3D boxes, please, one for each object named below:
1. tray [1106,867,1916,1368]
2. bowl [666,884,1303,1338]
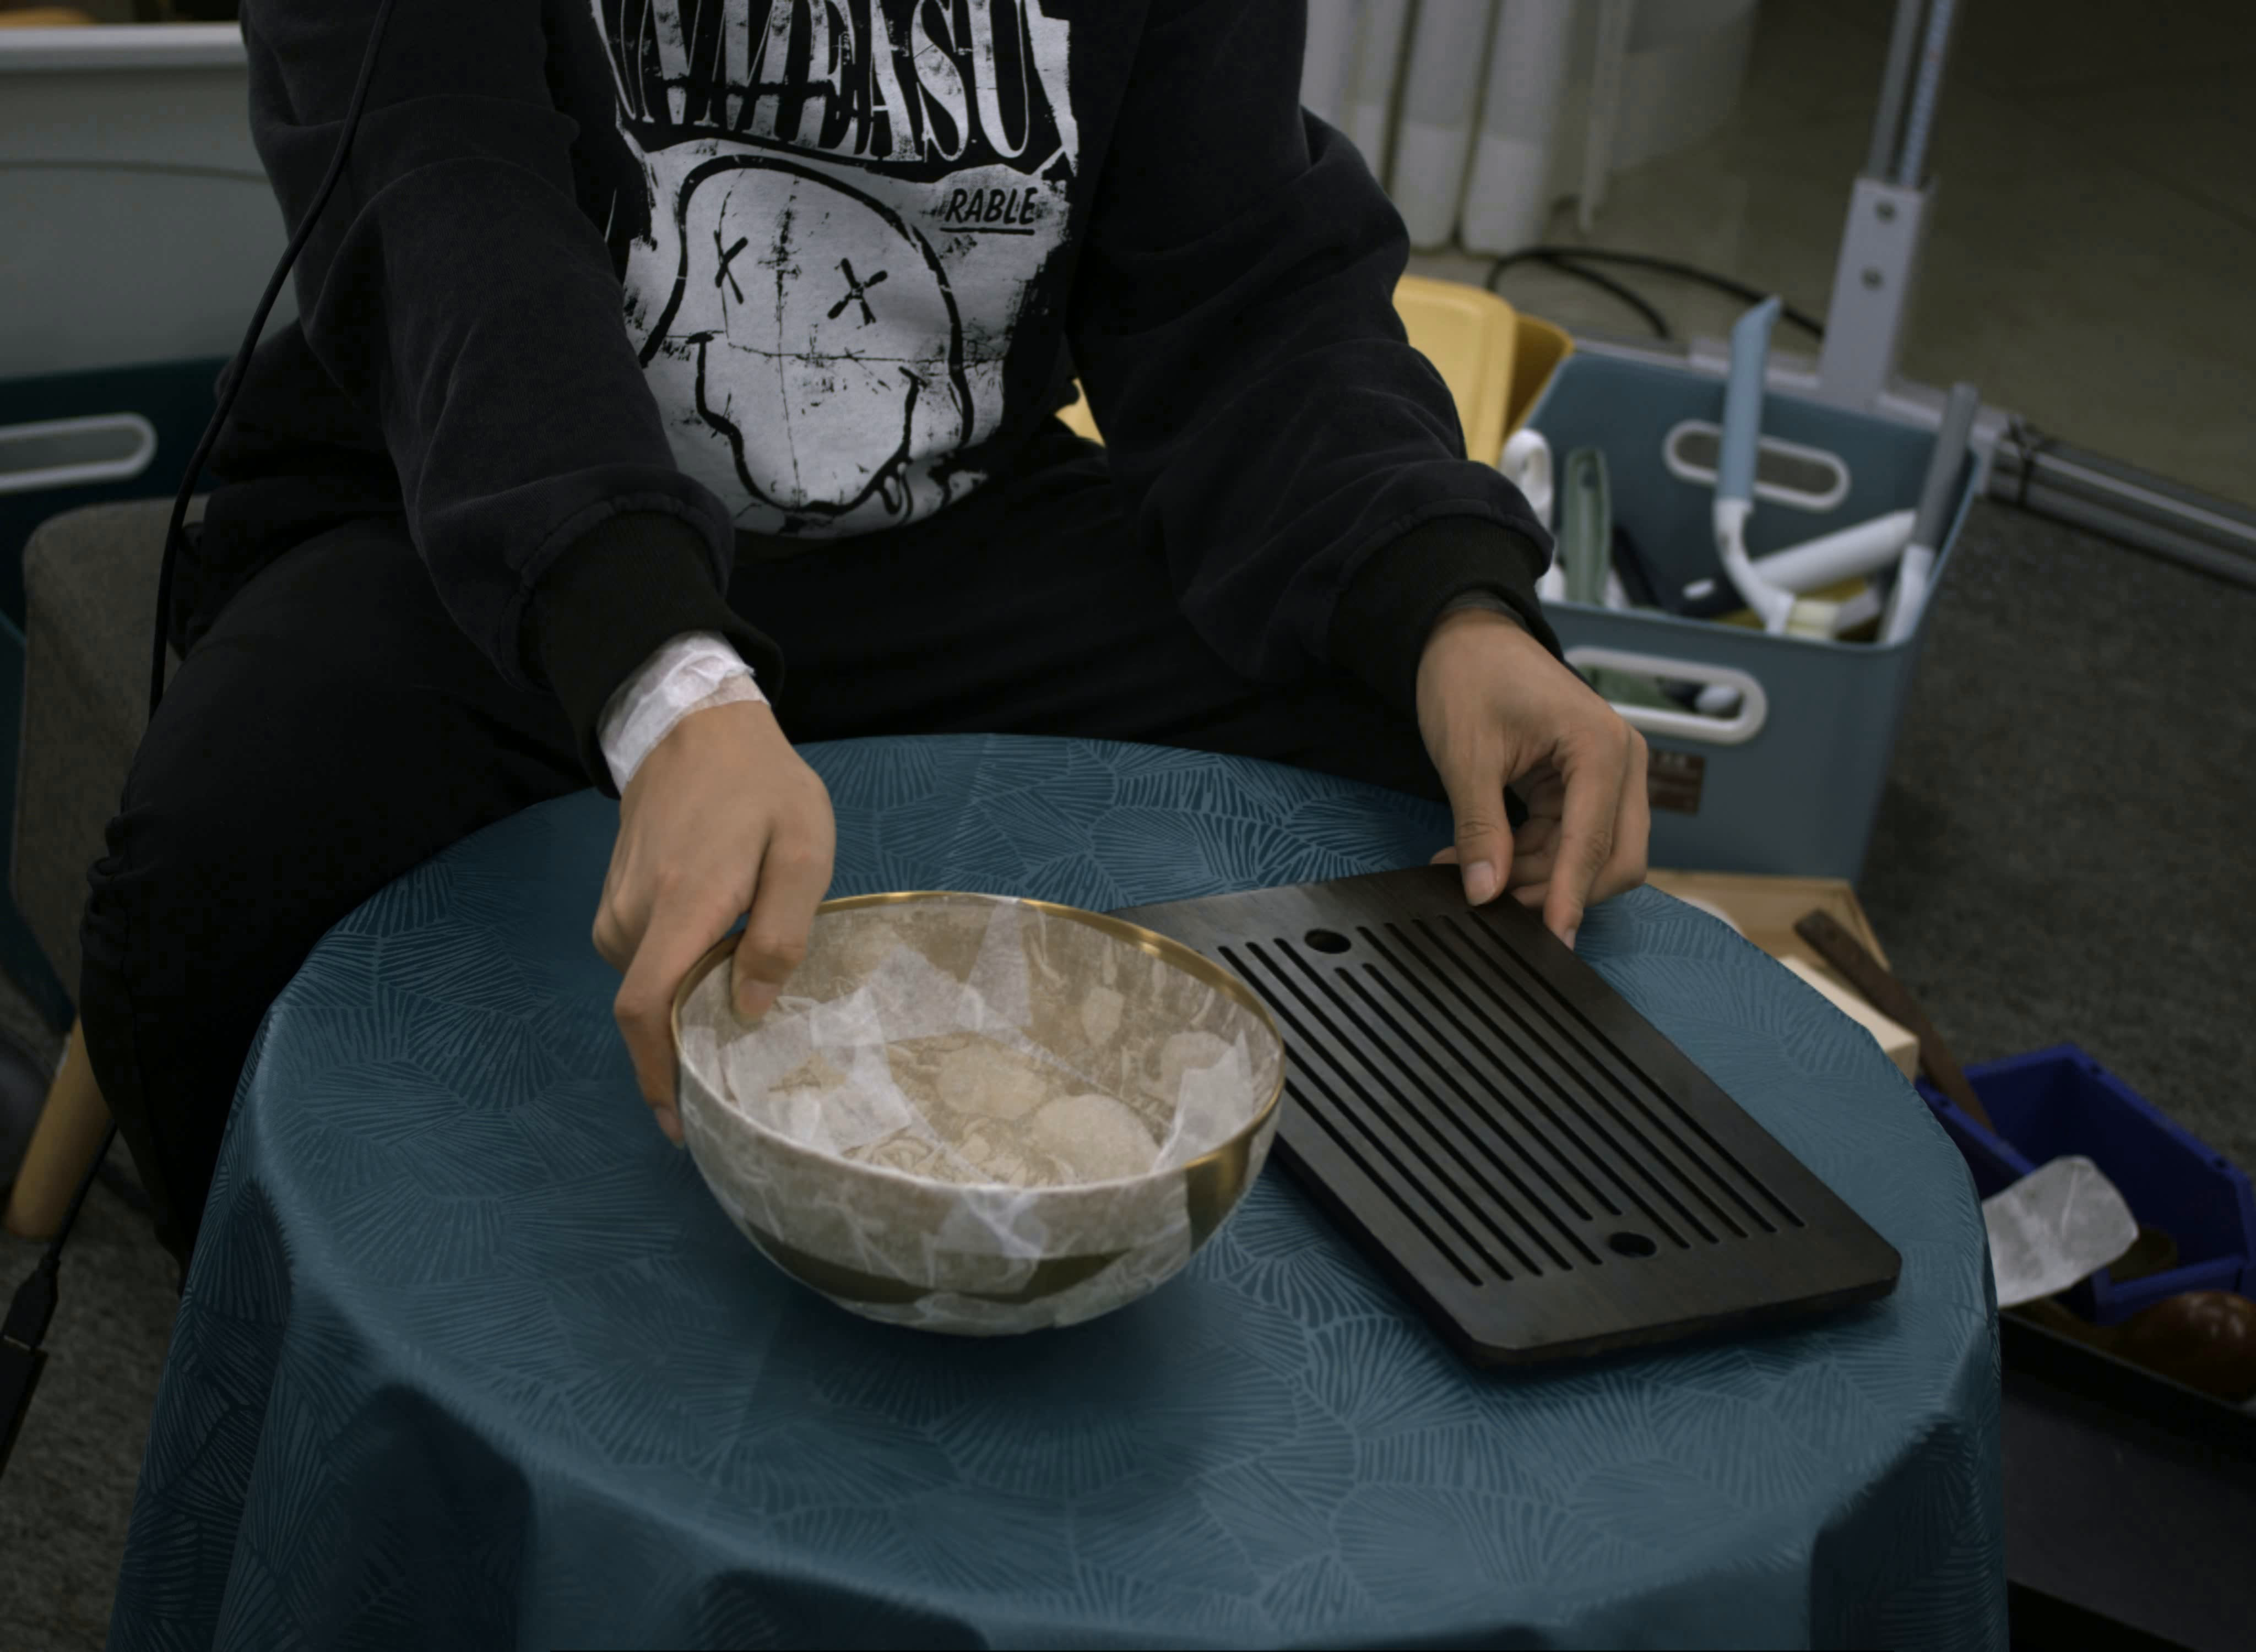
[{"bbox_3d":[0.125,0.098,1.859,0.169,0.018,0.309,-7,30,-26],"label":"tray"},{"bbox_3d":[-0.049,0.104,1.725,0.214,0.094,0.216,4,26,-2],"label":"bowl"}]
